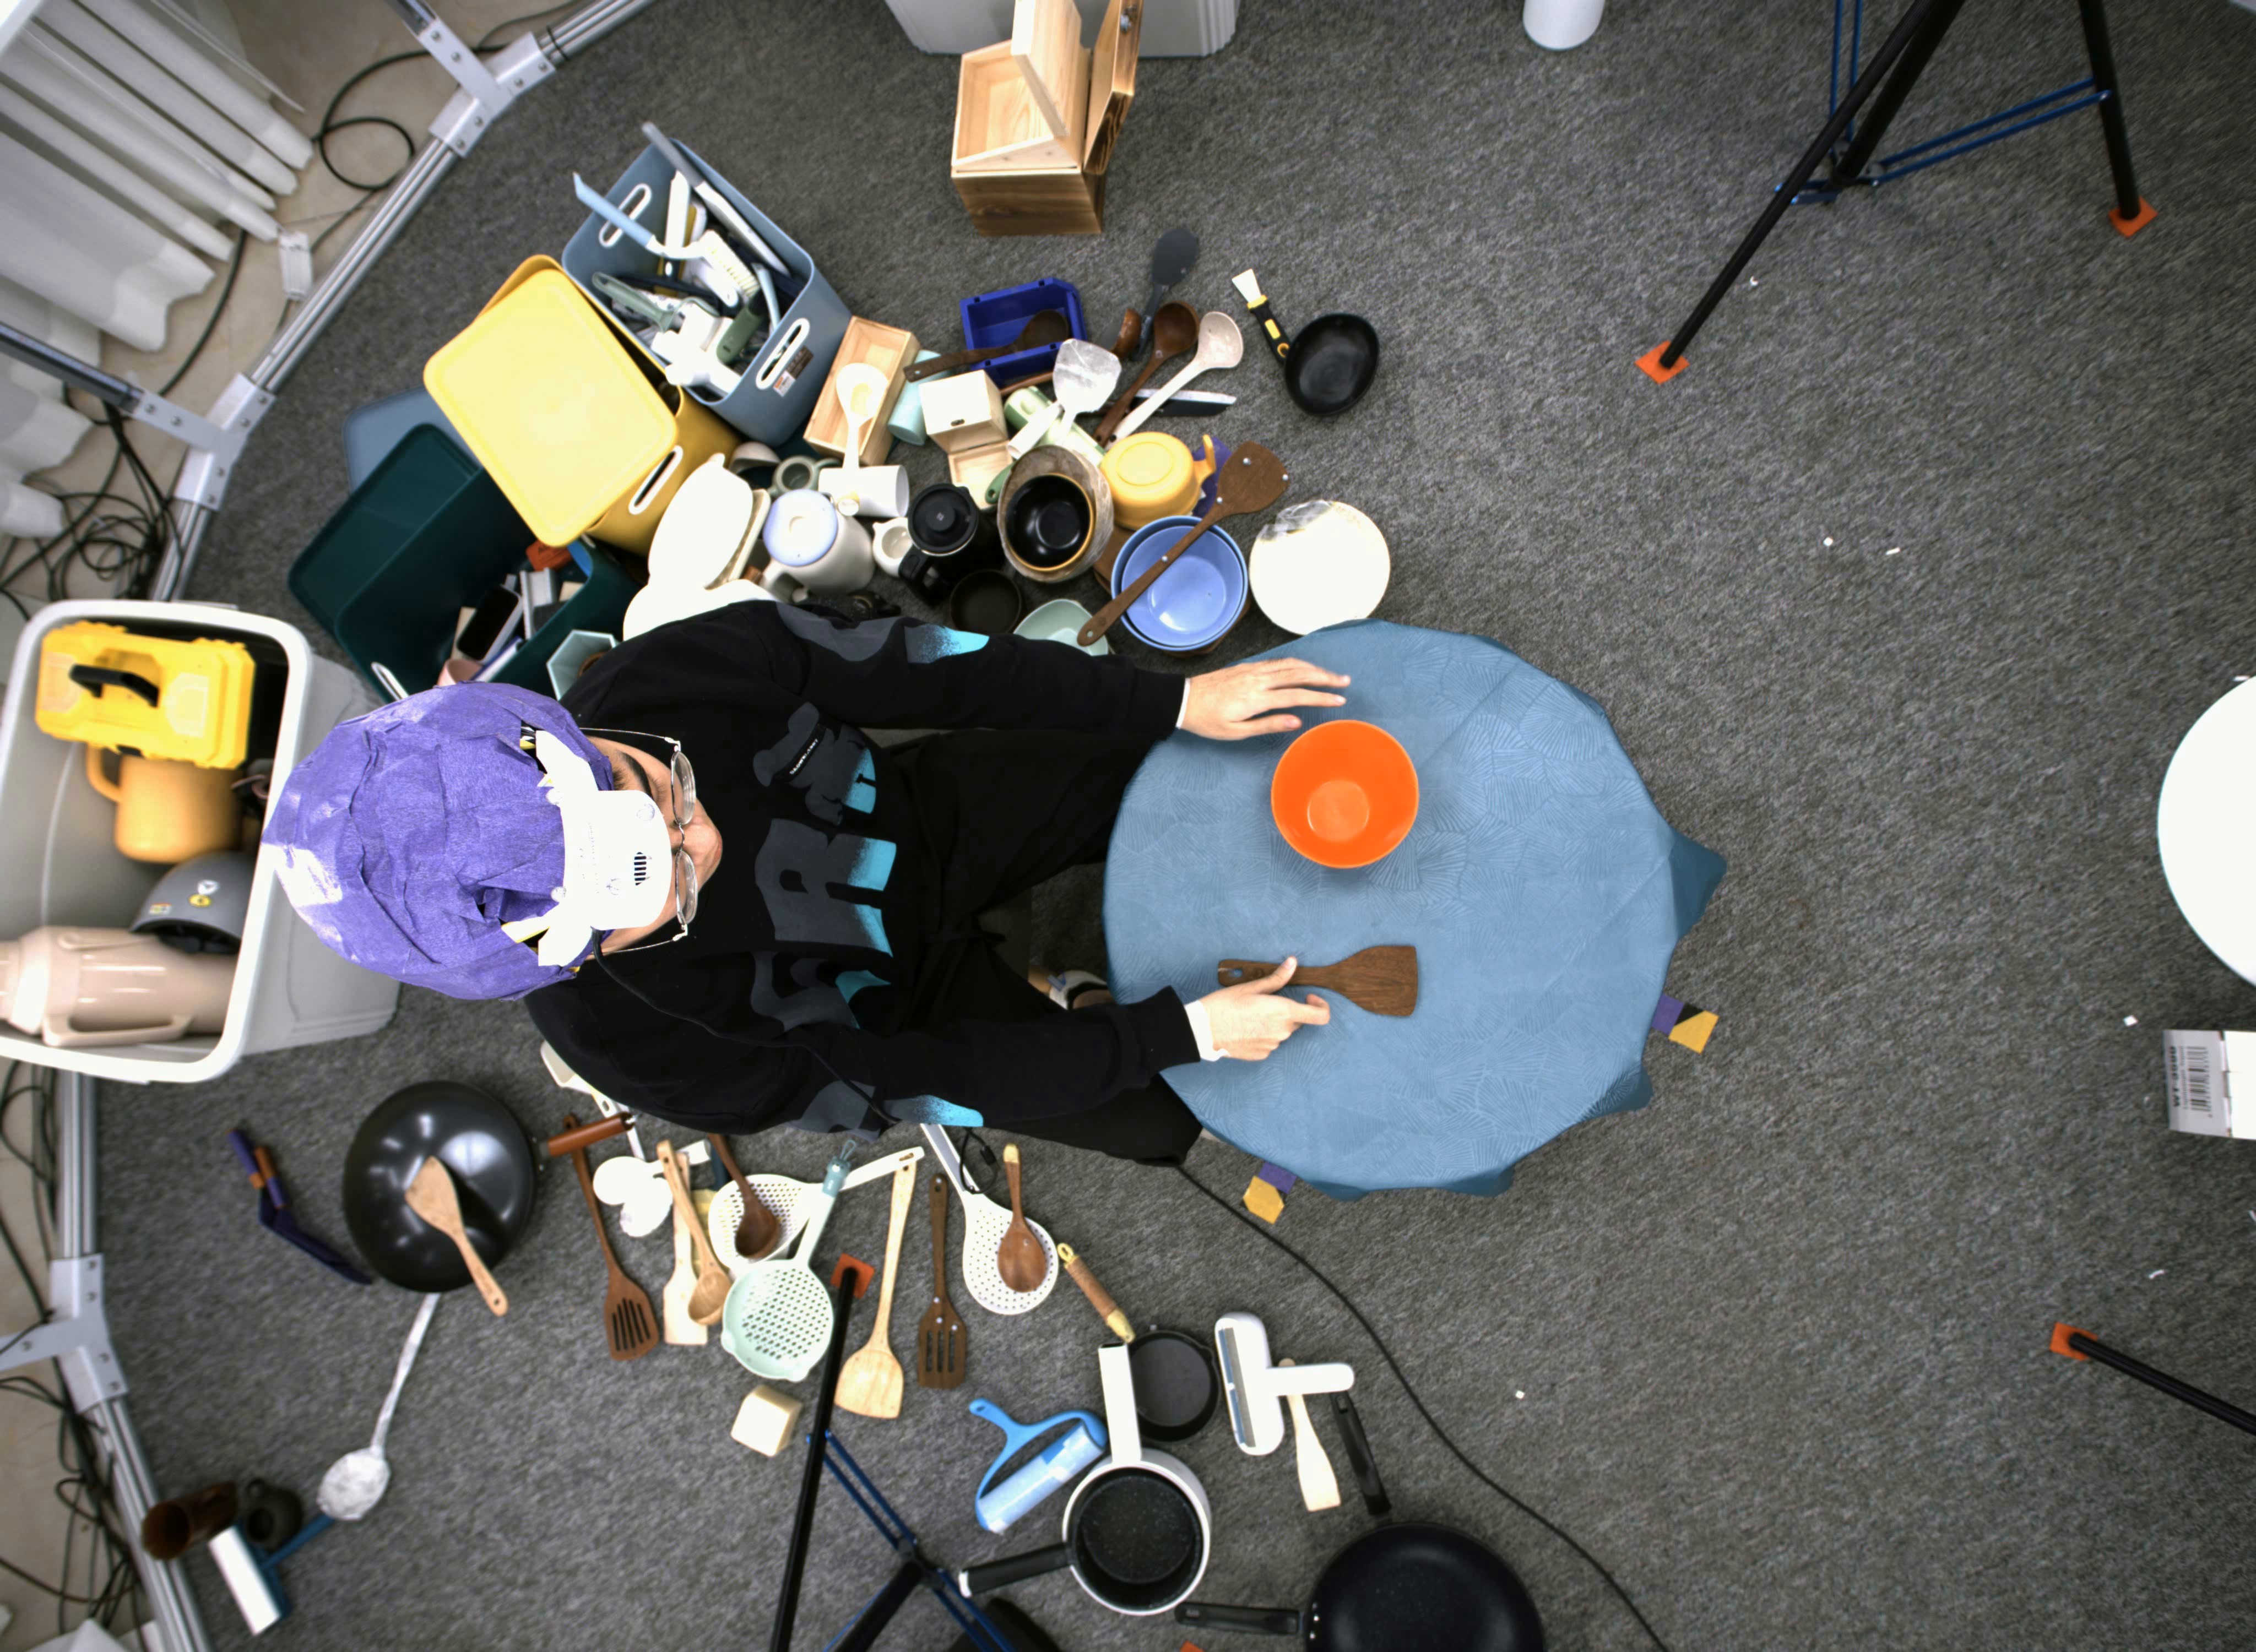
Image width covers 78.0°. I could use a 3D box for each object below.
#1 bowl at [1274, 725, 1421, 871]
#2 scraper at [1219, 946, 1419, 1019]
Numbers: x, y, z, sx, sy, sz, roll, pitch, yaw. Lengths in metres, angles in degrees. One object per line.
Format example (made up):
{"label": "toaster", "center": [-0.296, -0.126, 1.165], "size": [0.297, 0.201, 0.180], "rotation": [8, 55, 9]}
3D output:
{"label": "bowl", "center": [0.227, -0.025, 1.429], "size": [0.148, 0.104, 0.147], "rotation": [-1, 87, 10]}
{"label": "scraper", "center": [0.201, 0.161, 1.467], "size": [0.212, 0.011, 0.075], "rotation": [2, 85, 11]}
